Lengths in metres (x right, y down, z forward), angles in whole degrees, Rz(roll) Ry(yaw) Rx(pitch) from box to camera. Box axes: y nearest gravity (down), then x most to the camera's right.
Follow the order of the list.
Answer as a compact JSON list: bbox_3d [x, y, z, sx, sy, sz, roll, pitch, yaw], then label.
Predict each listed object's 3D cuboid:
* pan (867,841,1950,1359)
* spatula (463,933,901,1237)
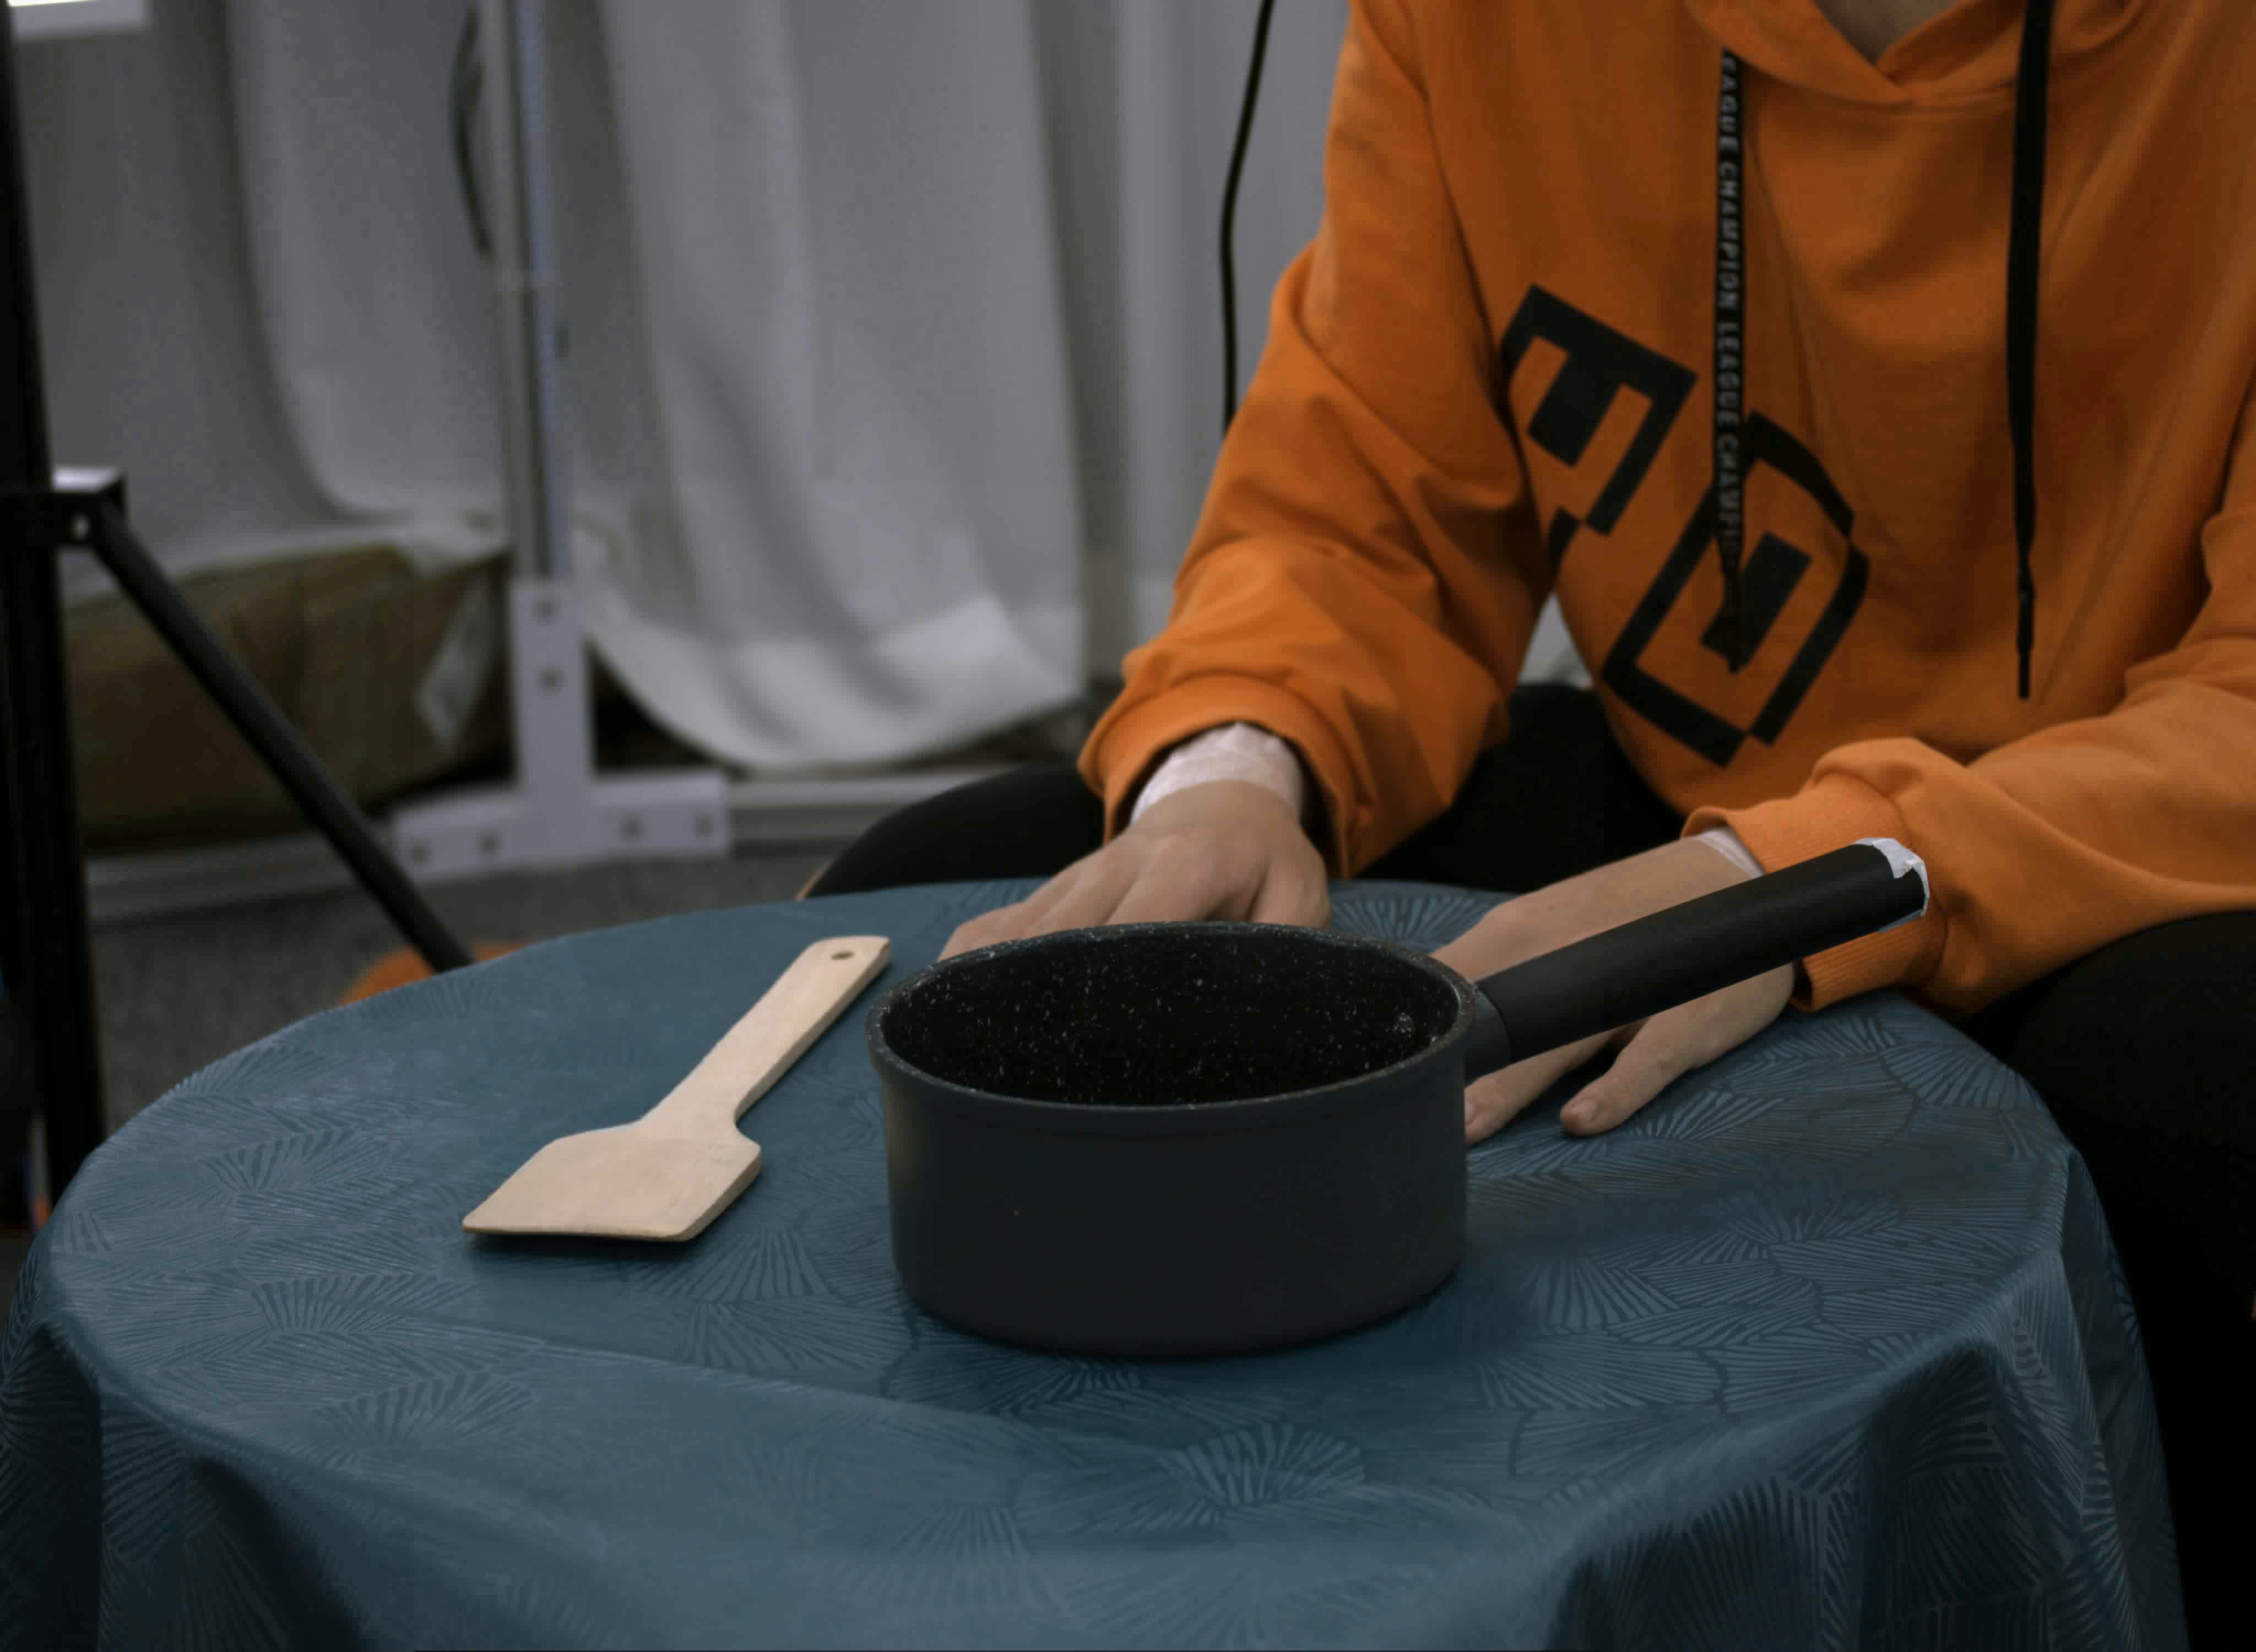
[{"bbox_3d":[0.086,0.073,1.514,0.323,0.086,0.175,-10,18,-19],"label":"pan"},{"bbox_3d":[-0.125,0.079,1.664,0.073,0.010,0.290,-2,16,16],"label":"spatula"}]
